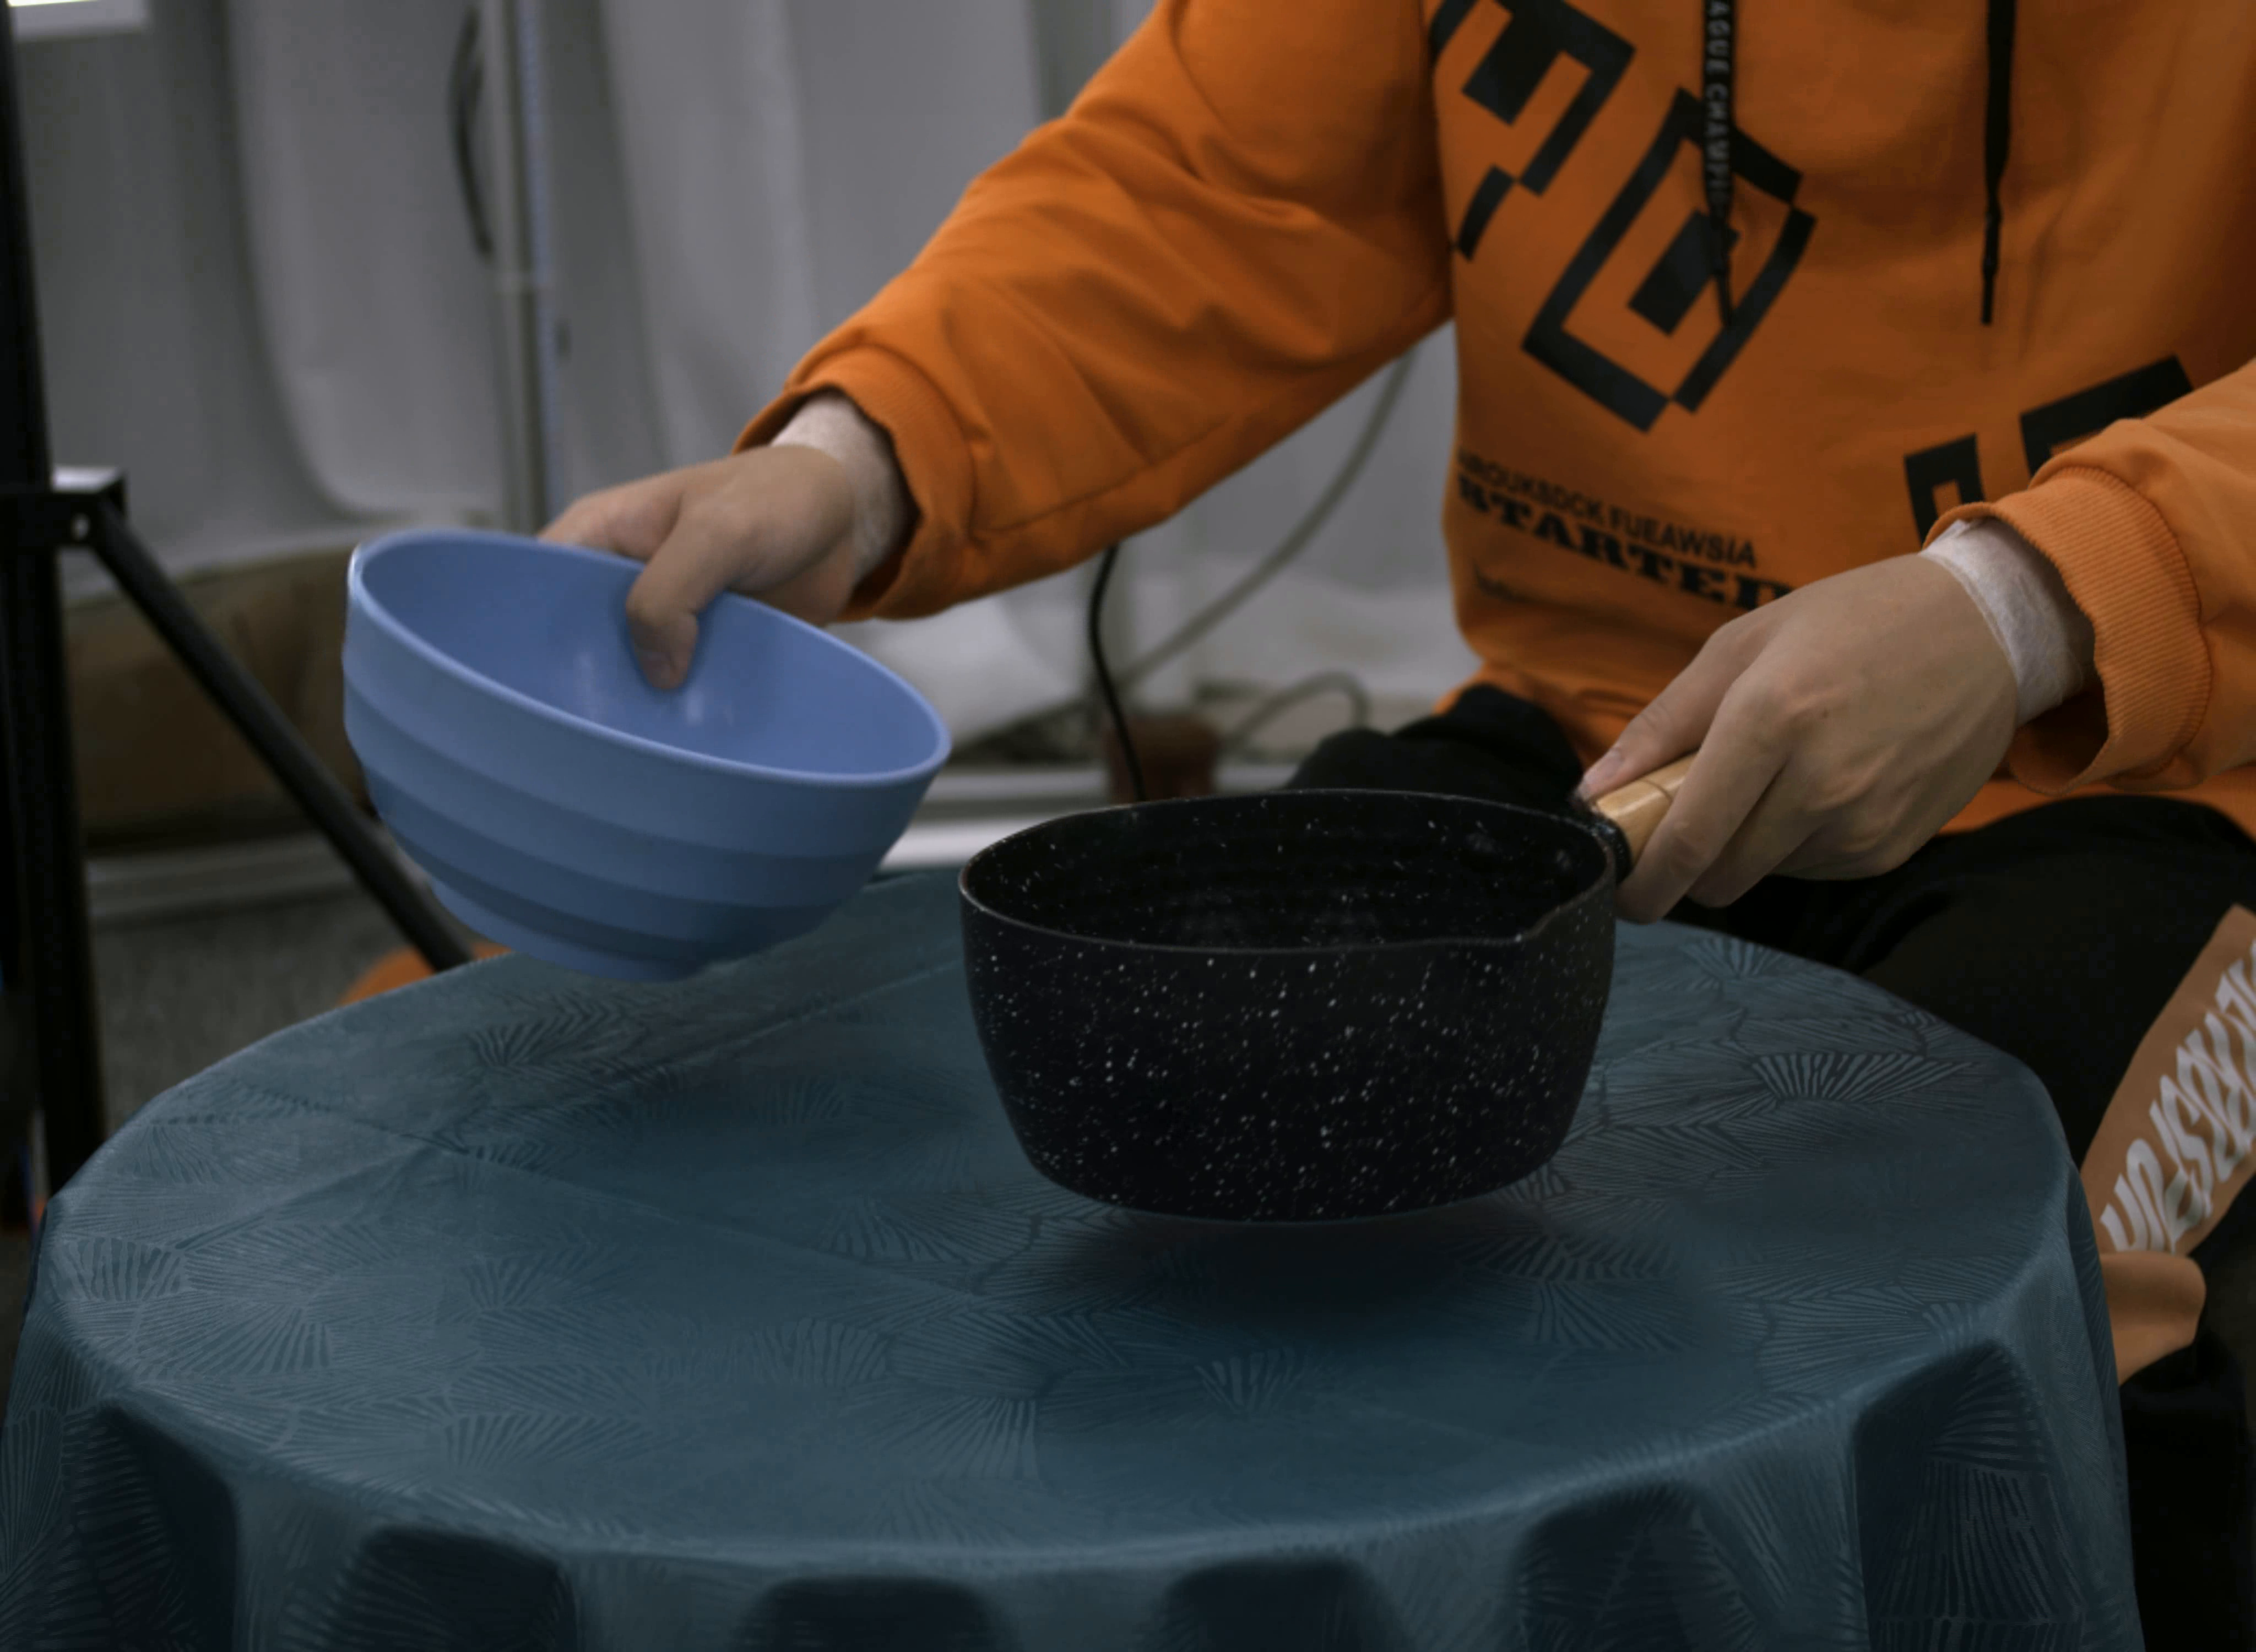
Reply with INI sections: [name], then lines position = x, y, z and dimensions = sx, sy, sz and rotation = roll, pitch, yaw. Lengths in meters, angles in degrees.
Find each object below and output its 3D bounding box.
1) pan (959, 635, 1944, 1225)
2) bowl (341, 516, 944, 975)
[pan]
position = 0.108, 0.026, 1.532
dimensions = 0.335, 0.108, 0.212
rotation = -14, 16, -35
[bowl]
position = -0.165, -0.016, 1.683
dimensions = 0.194, 0.096, 0.197
rotation = 18, 17, -7
